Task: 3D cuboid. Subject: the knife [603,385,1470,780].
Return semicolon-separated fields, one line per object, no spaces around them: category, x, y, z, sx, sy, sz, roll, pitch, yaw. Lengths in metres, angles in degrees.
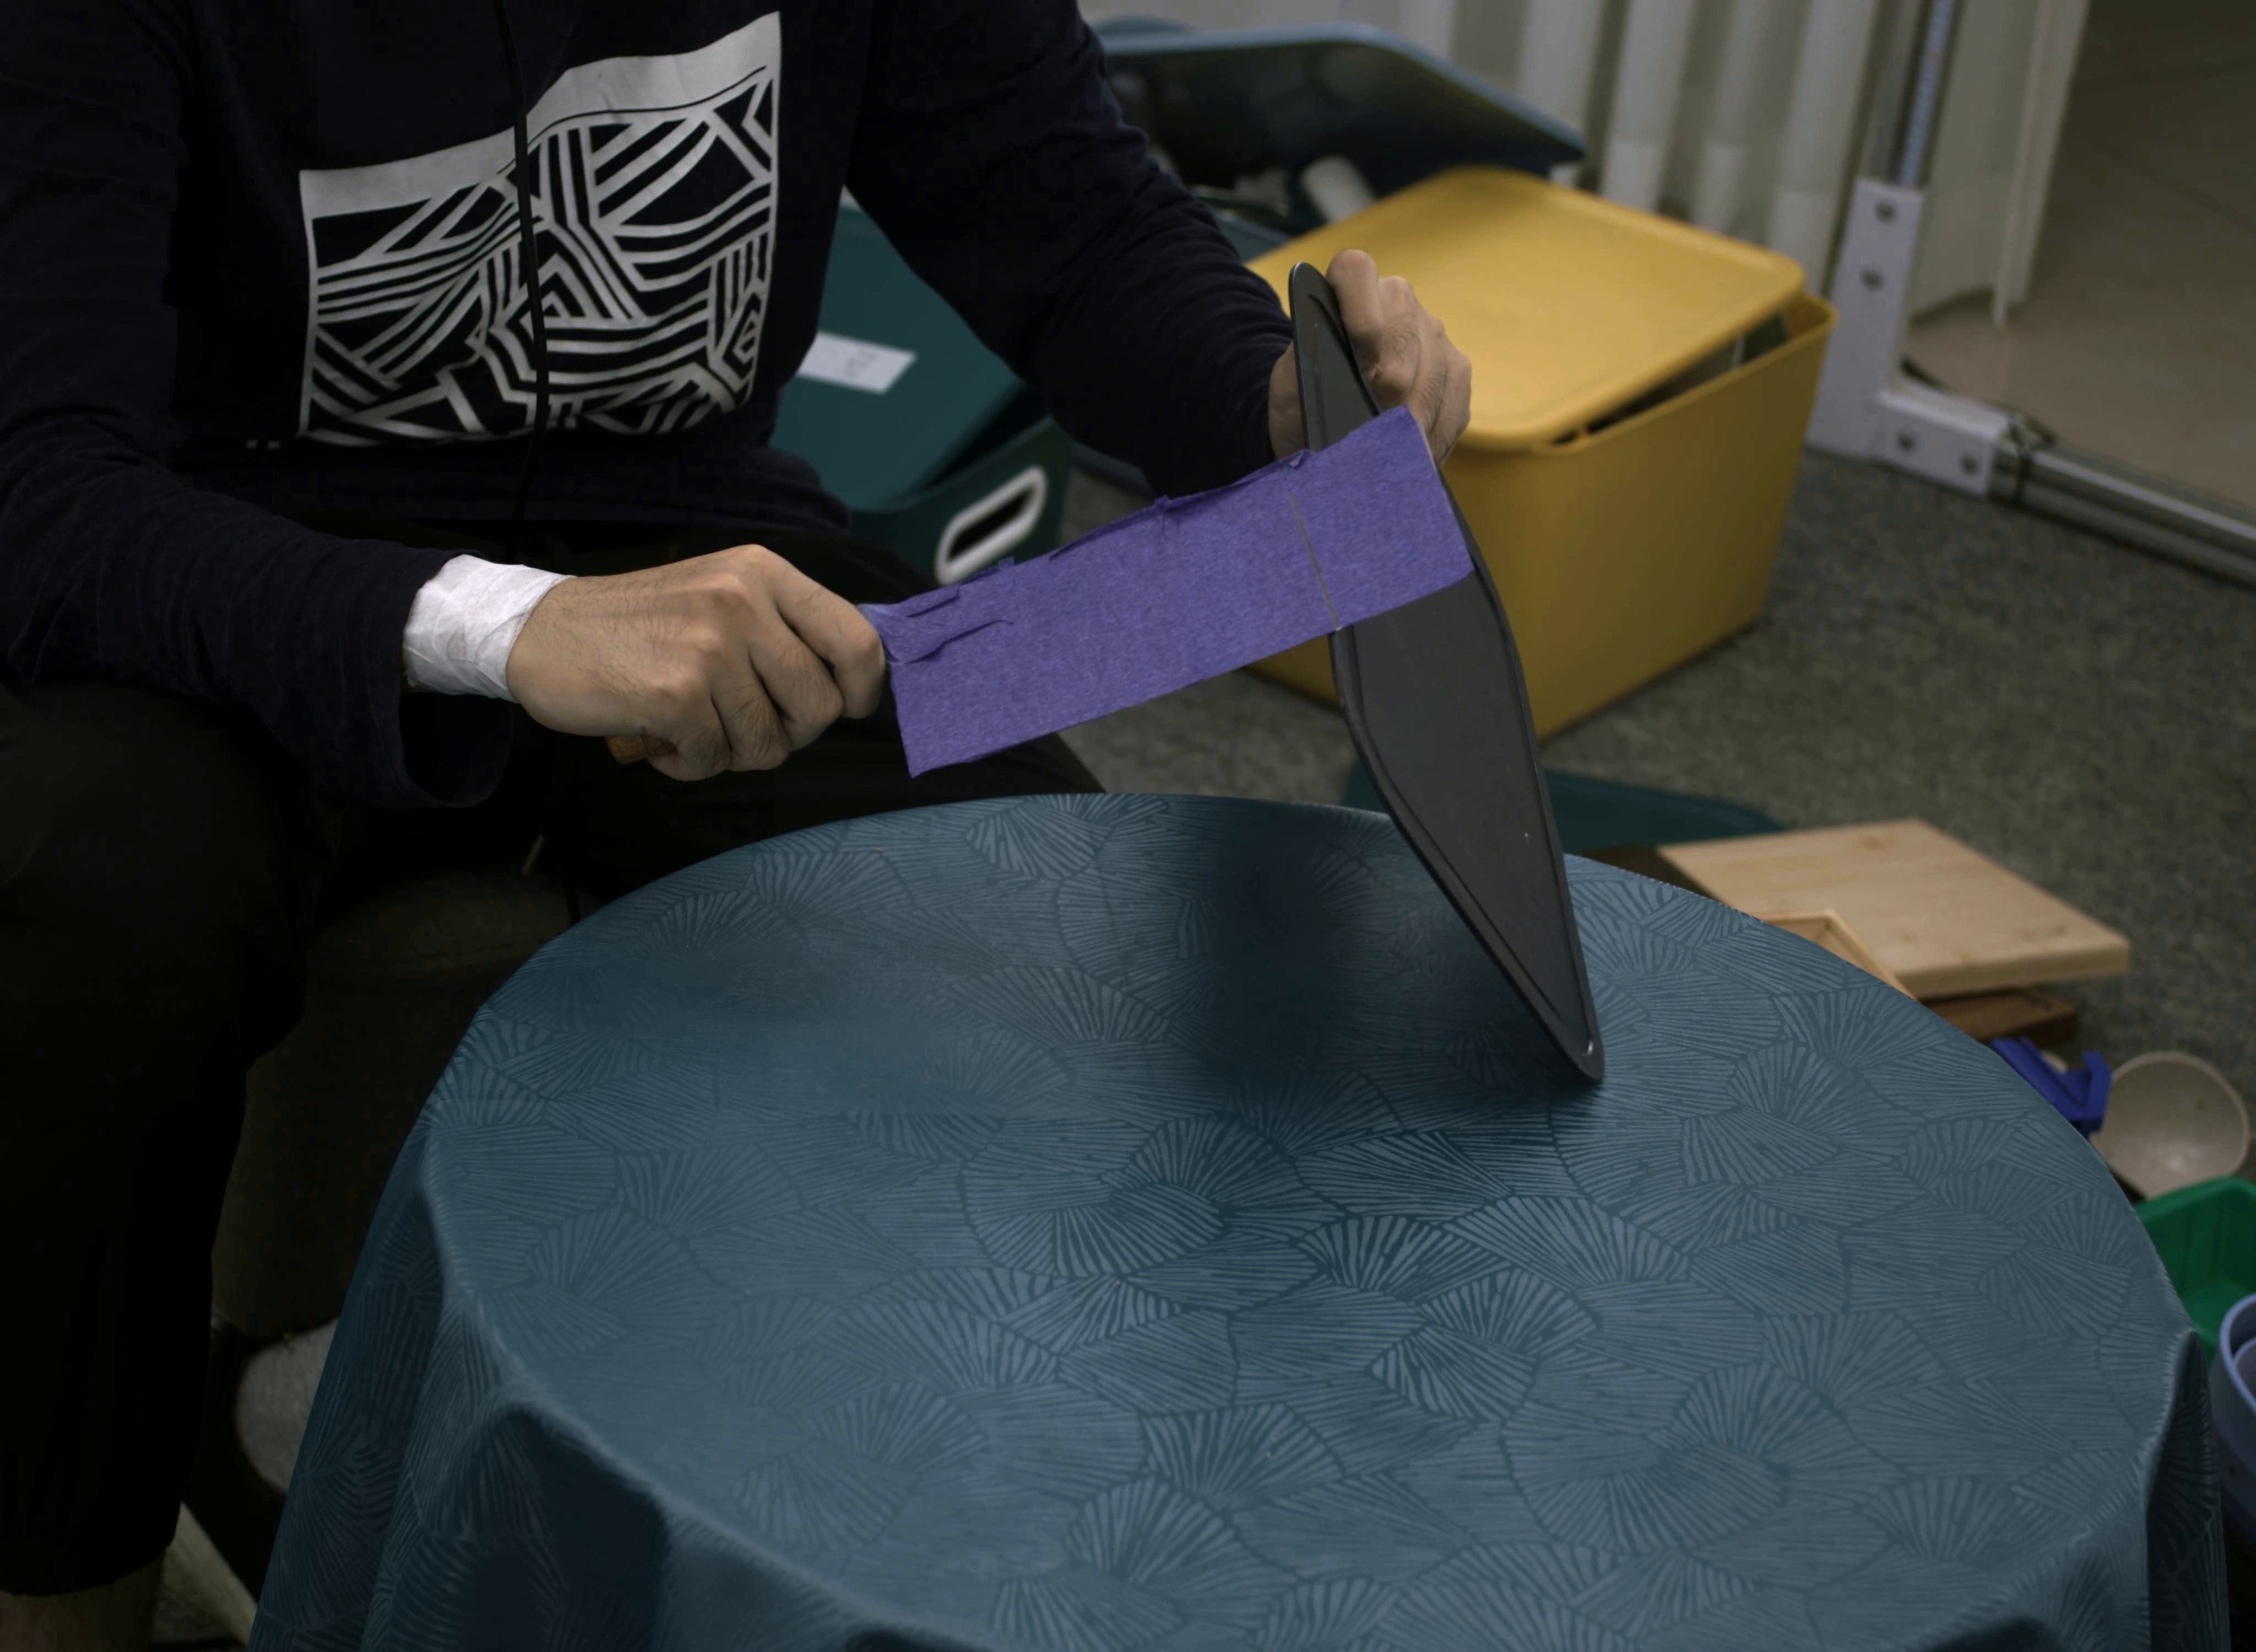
knife;-0.035;-0.068;1.863;0.315;0.032;0.105;-22;41;8

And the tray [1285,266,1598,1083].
tray;0.114;-0.066;1.956;0.010;0.209;0.328;-24;38;16
